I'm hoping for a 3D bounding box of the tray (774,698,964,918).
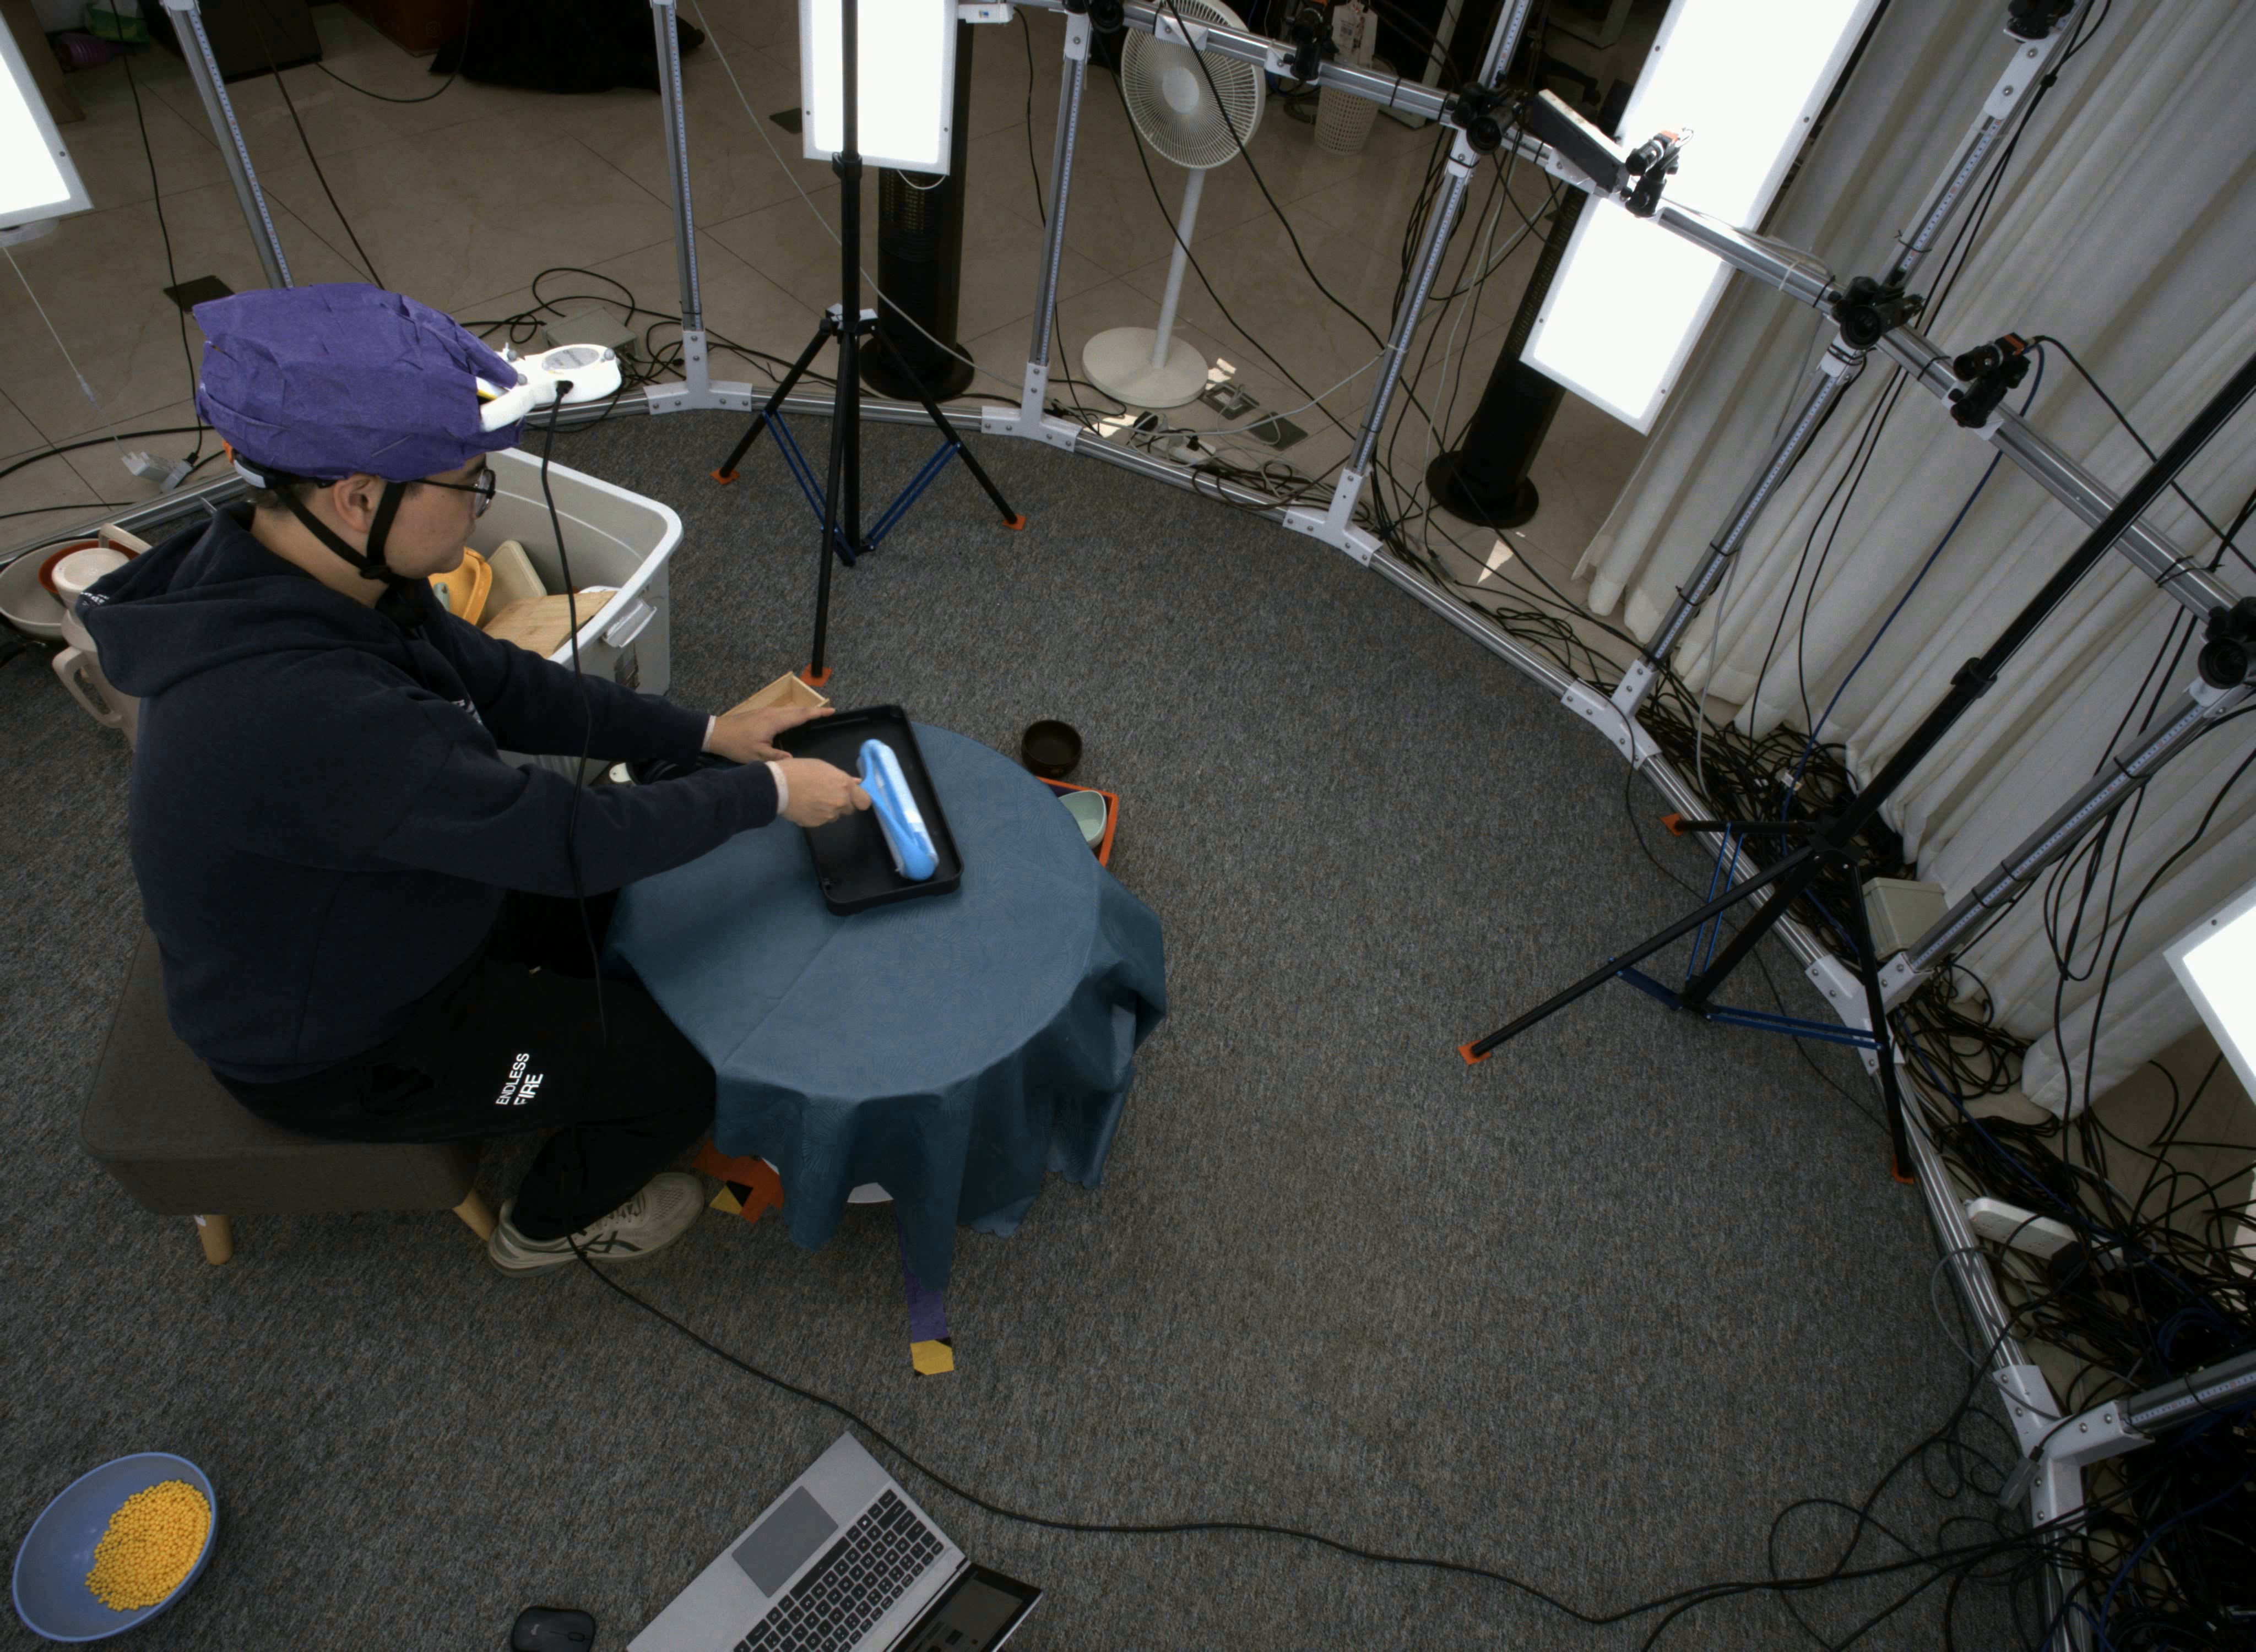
[{"bbox_3d":[-0.350,-0.031,1.743,0.185,0.038,0.310,-13,60,-22],"label":"tray"}]

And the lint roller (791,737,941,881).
[{"bbox_3d":[-0.343,-0.030,1.681,0.185,0.068,0.223,9,46,-49],"label":"lint roller"}]
